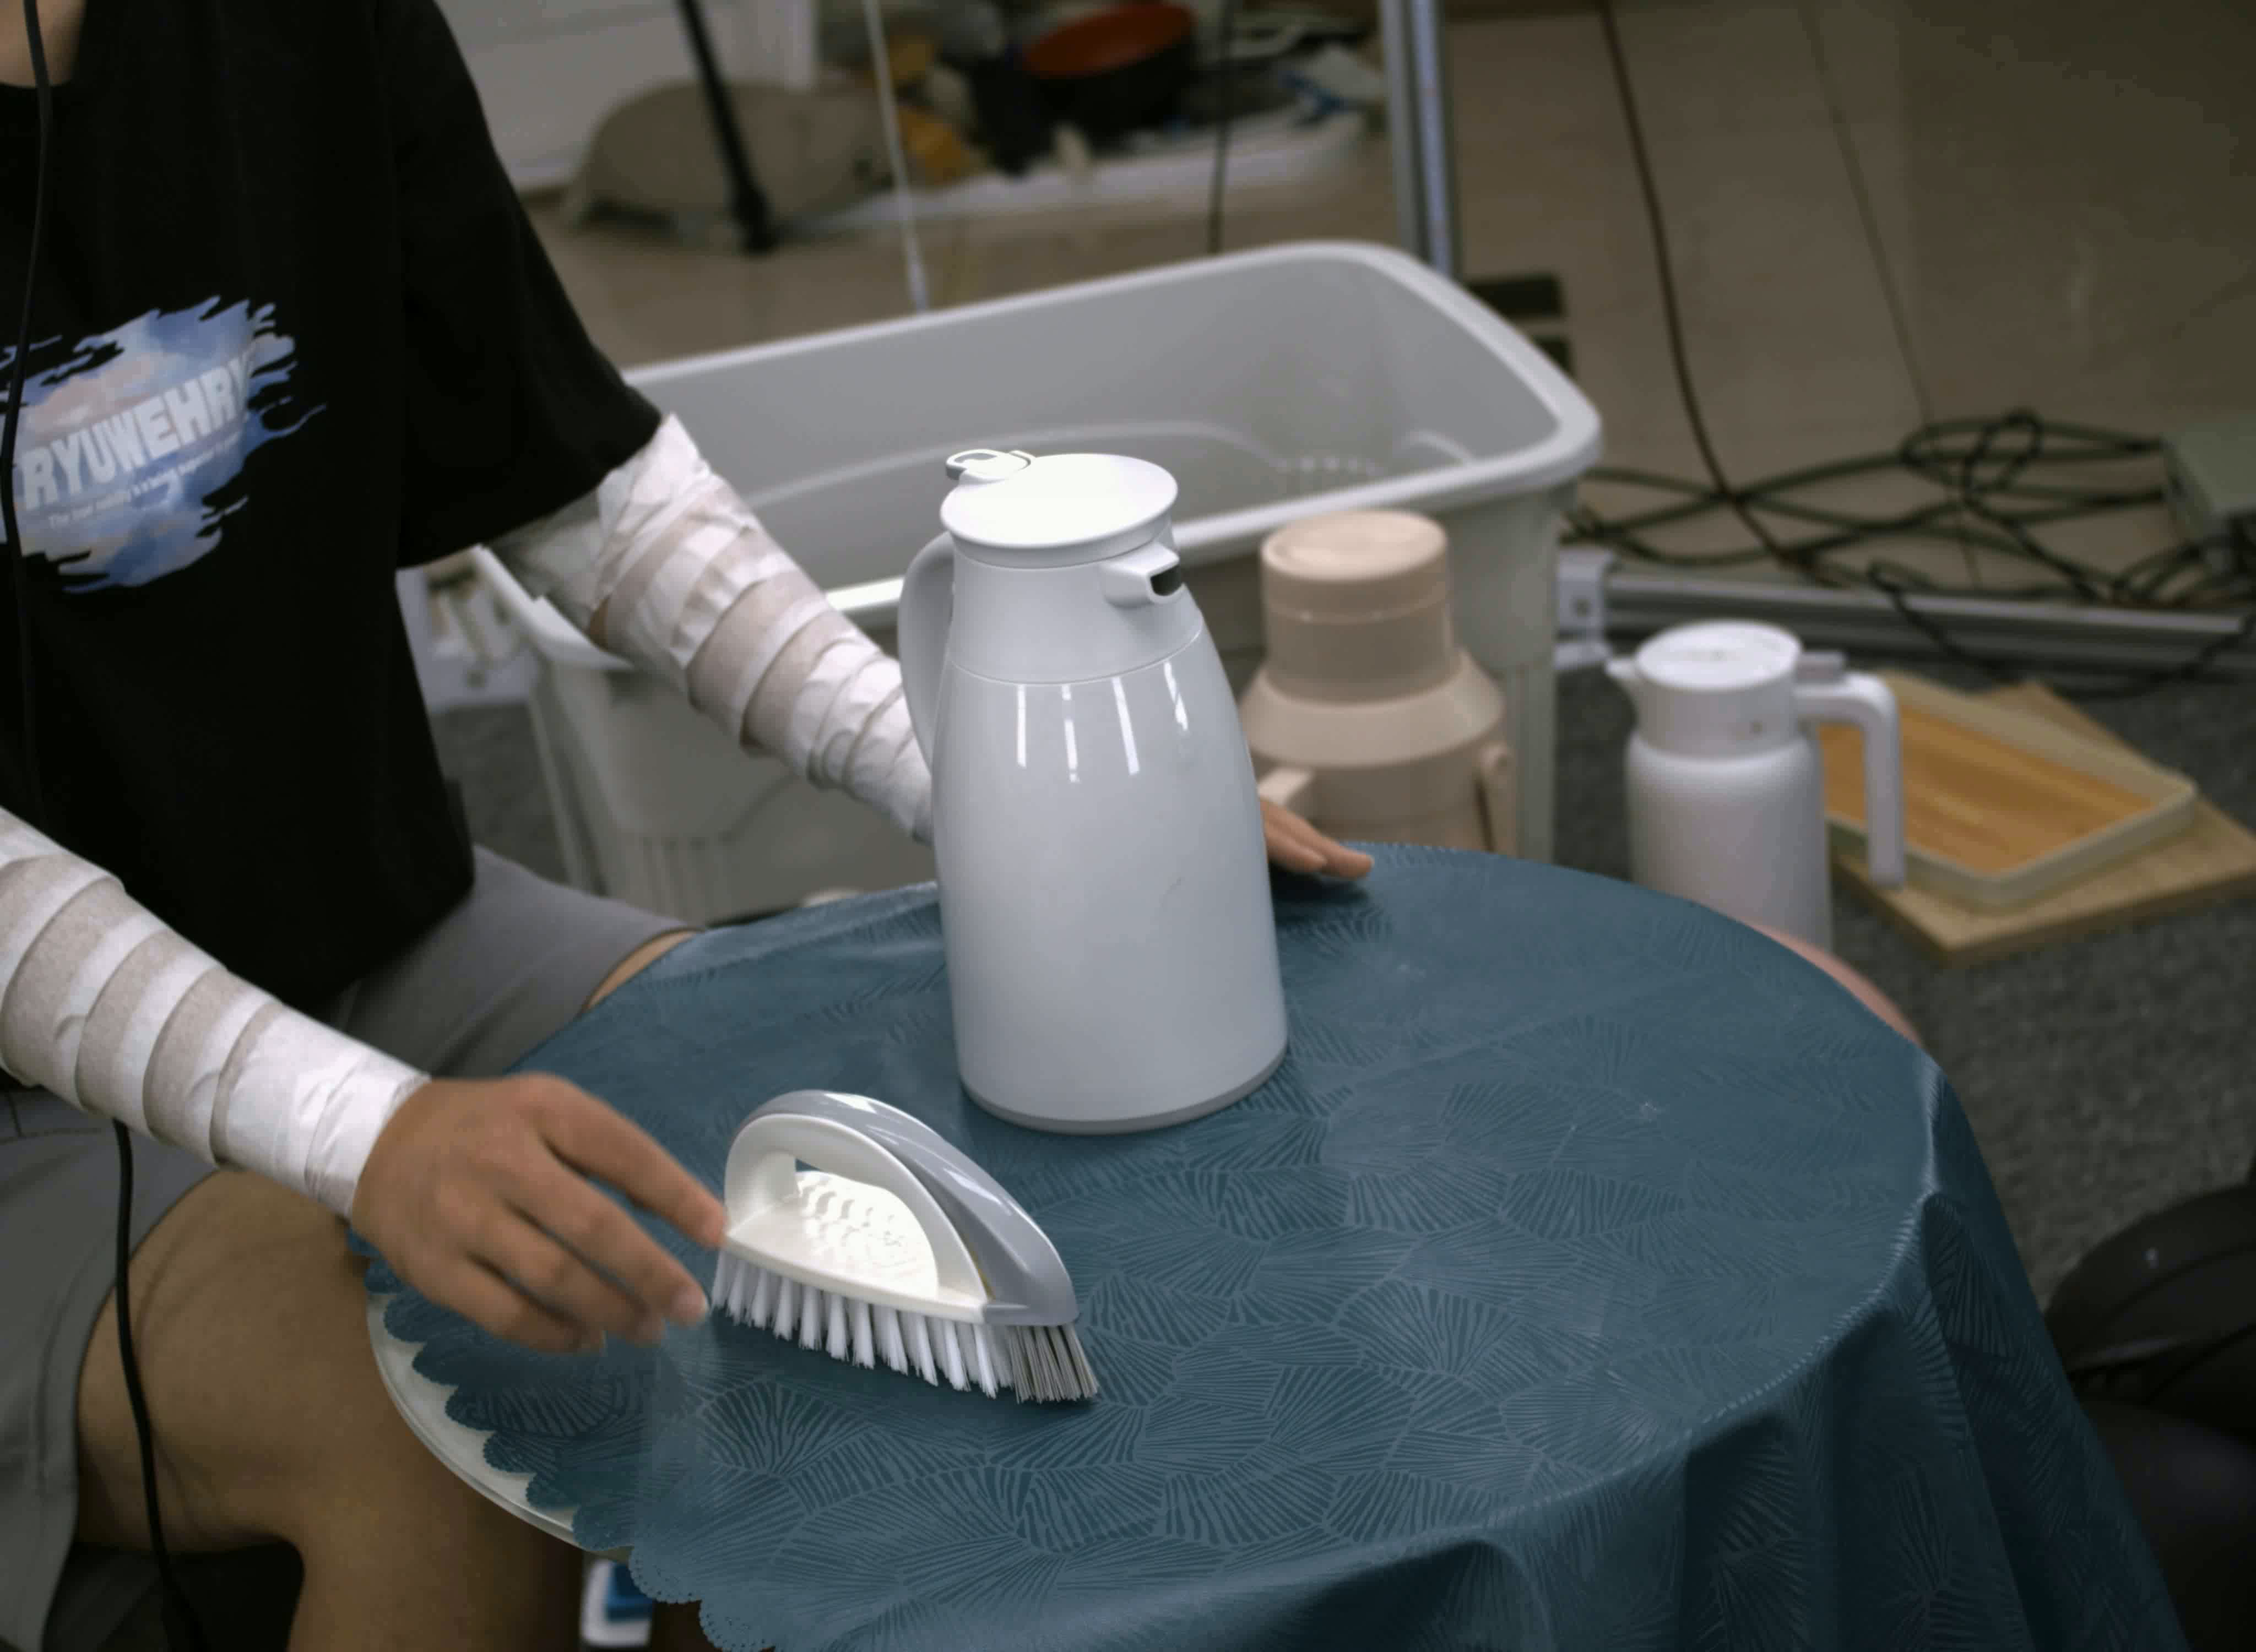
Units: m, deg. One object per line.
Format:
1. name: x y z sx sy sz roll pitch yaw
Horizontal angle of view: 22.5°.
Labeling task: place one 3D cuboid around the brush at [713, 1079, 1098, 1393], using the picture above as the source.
1. brush: -0.080 0.144 2.046 0.174 0.096 0.061 18 38 39

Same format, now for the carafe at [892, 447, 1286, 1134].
1. carafe: -0.029 -0.024 2.208 0.131 0.252 0.166 -26 31 -34
